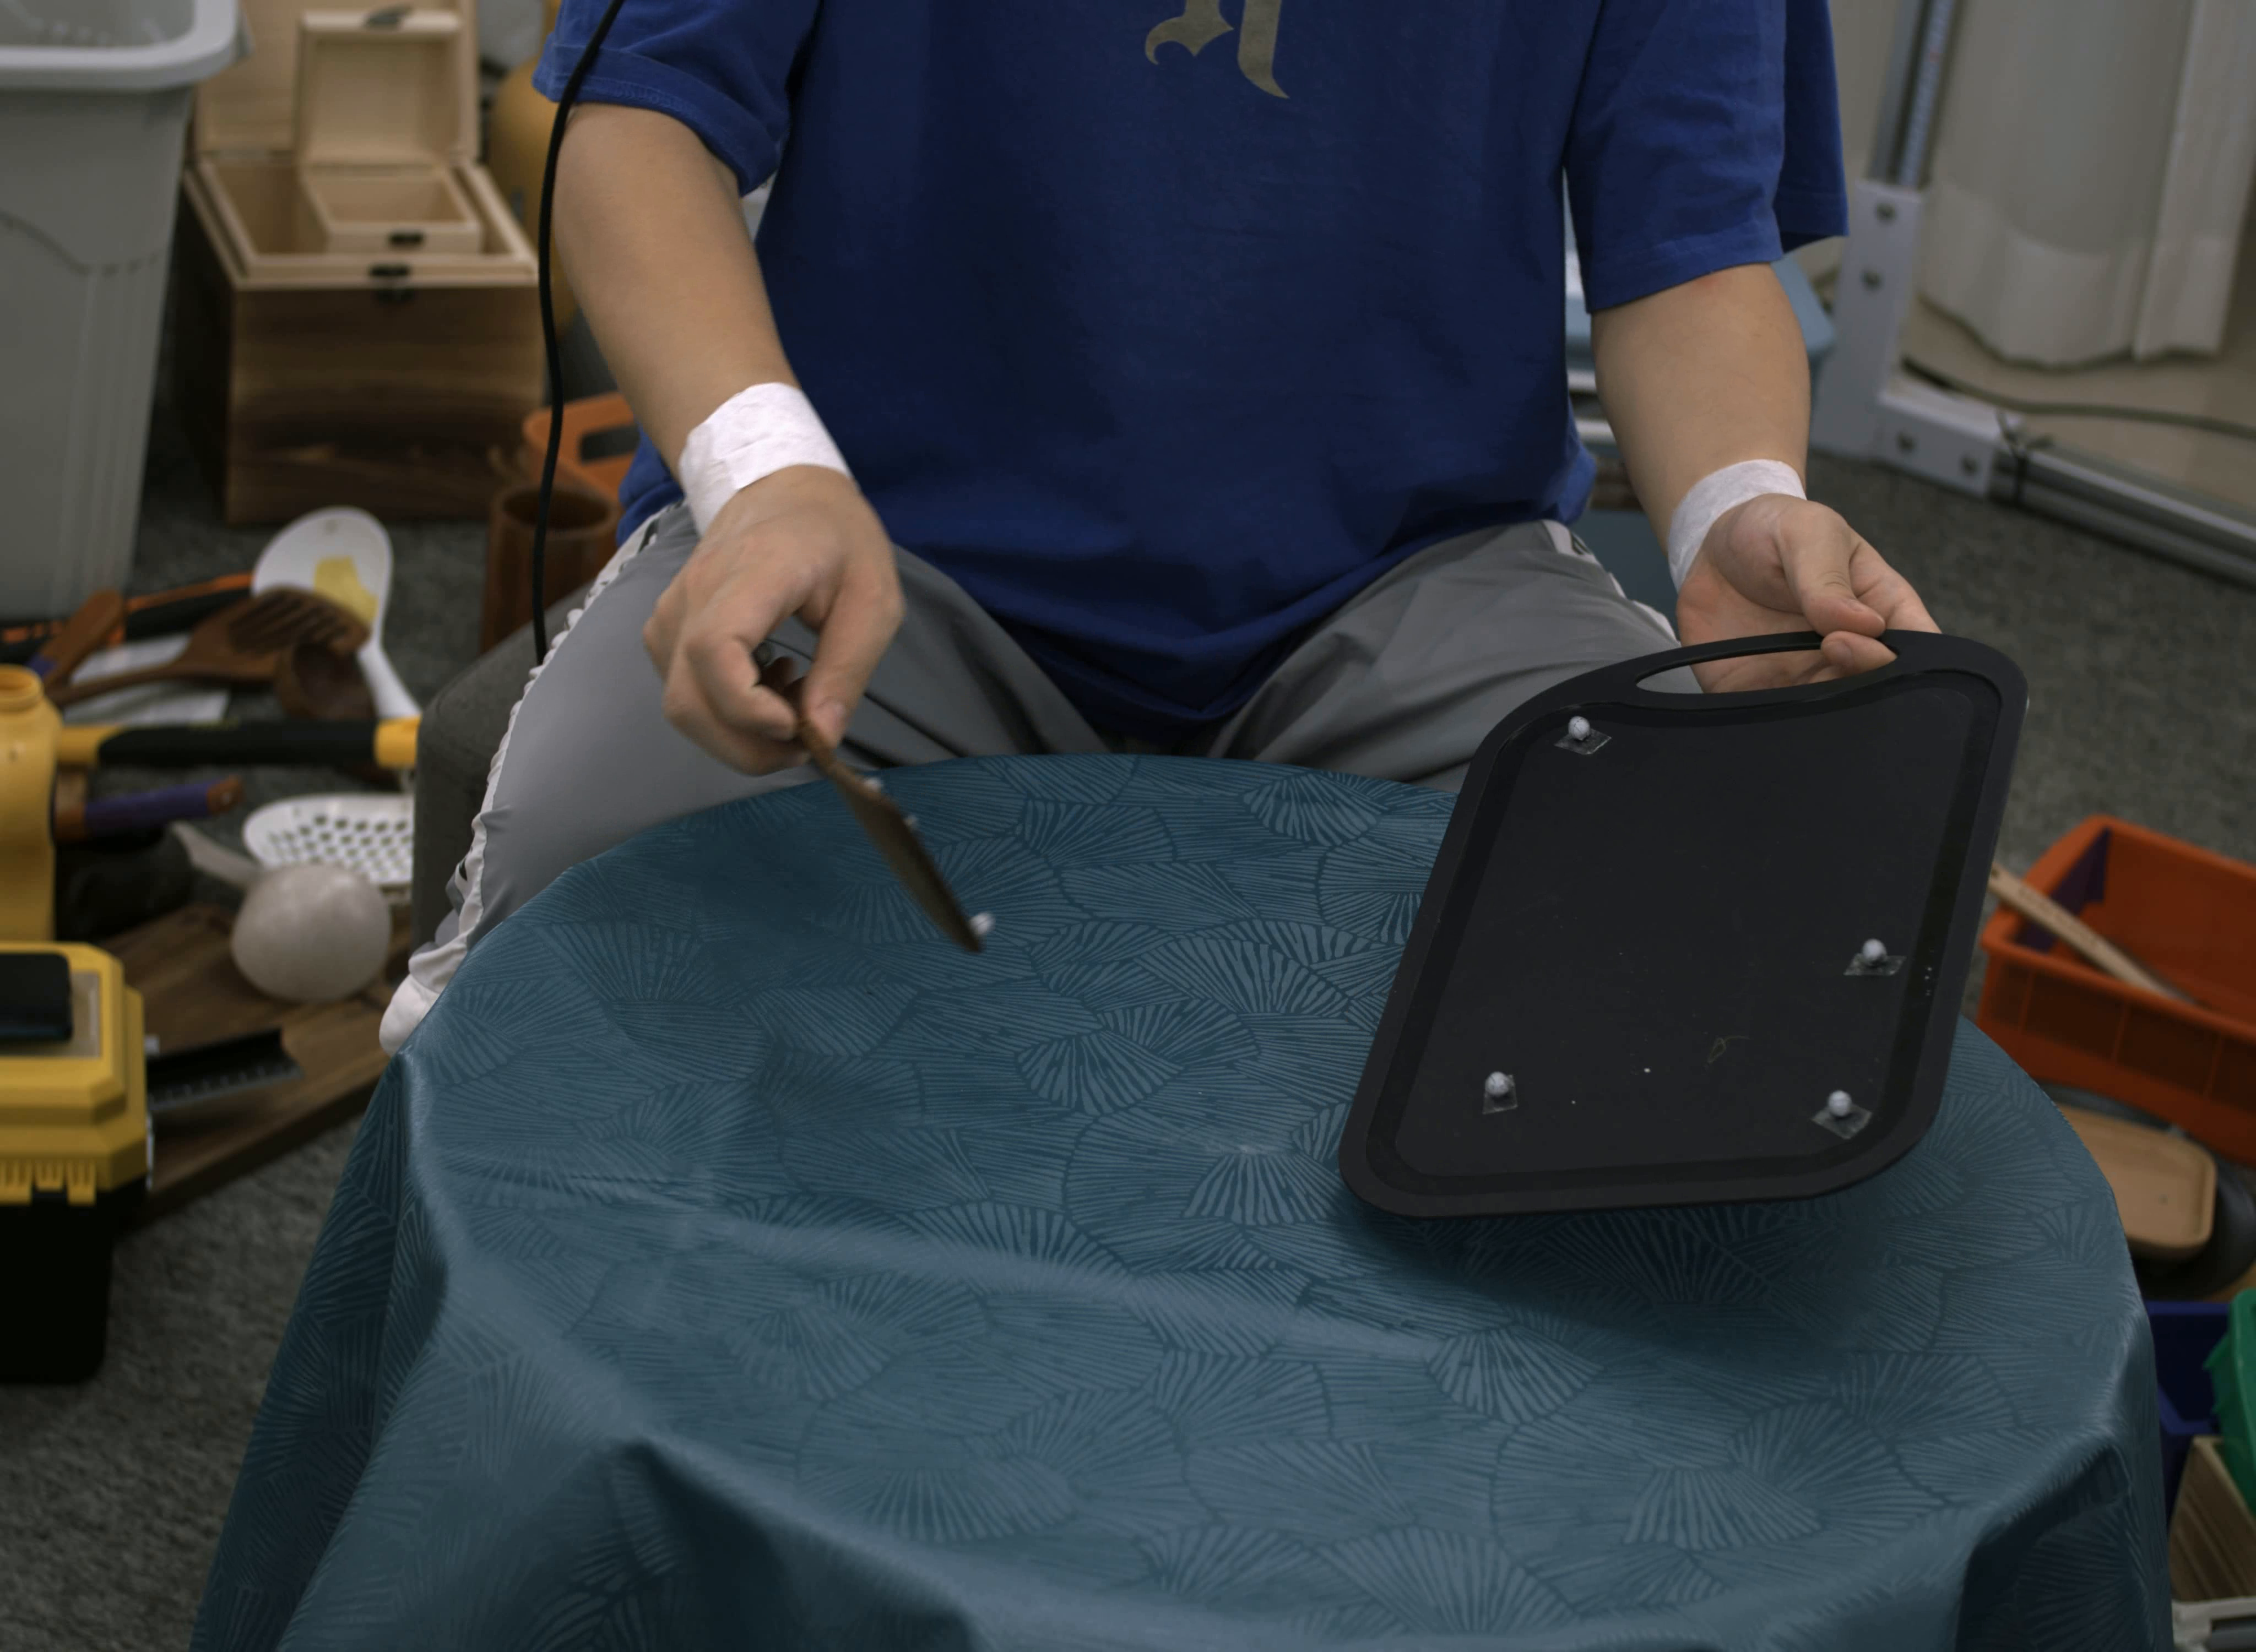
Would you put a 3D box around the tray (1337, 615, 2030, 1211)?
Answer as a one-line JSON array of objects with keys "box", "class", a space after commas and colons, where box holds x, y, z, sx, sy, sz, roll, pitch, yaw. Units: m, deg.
[{"box": [0.198, 0.022, 1.861, 0.211, 0.010, 0.327, -5, 36, 23], "class": "tray"}]

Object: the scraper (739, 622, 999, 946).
[{"box": [-0.098, -0.023, 1.863, 0.011, 0.075, 0.213, -34, 33, -5], "class": "scraper"}]
